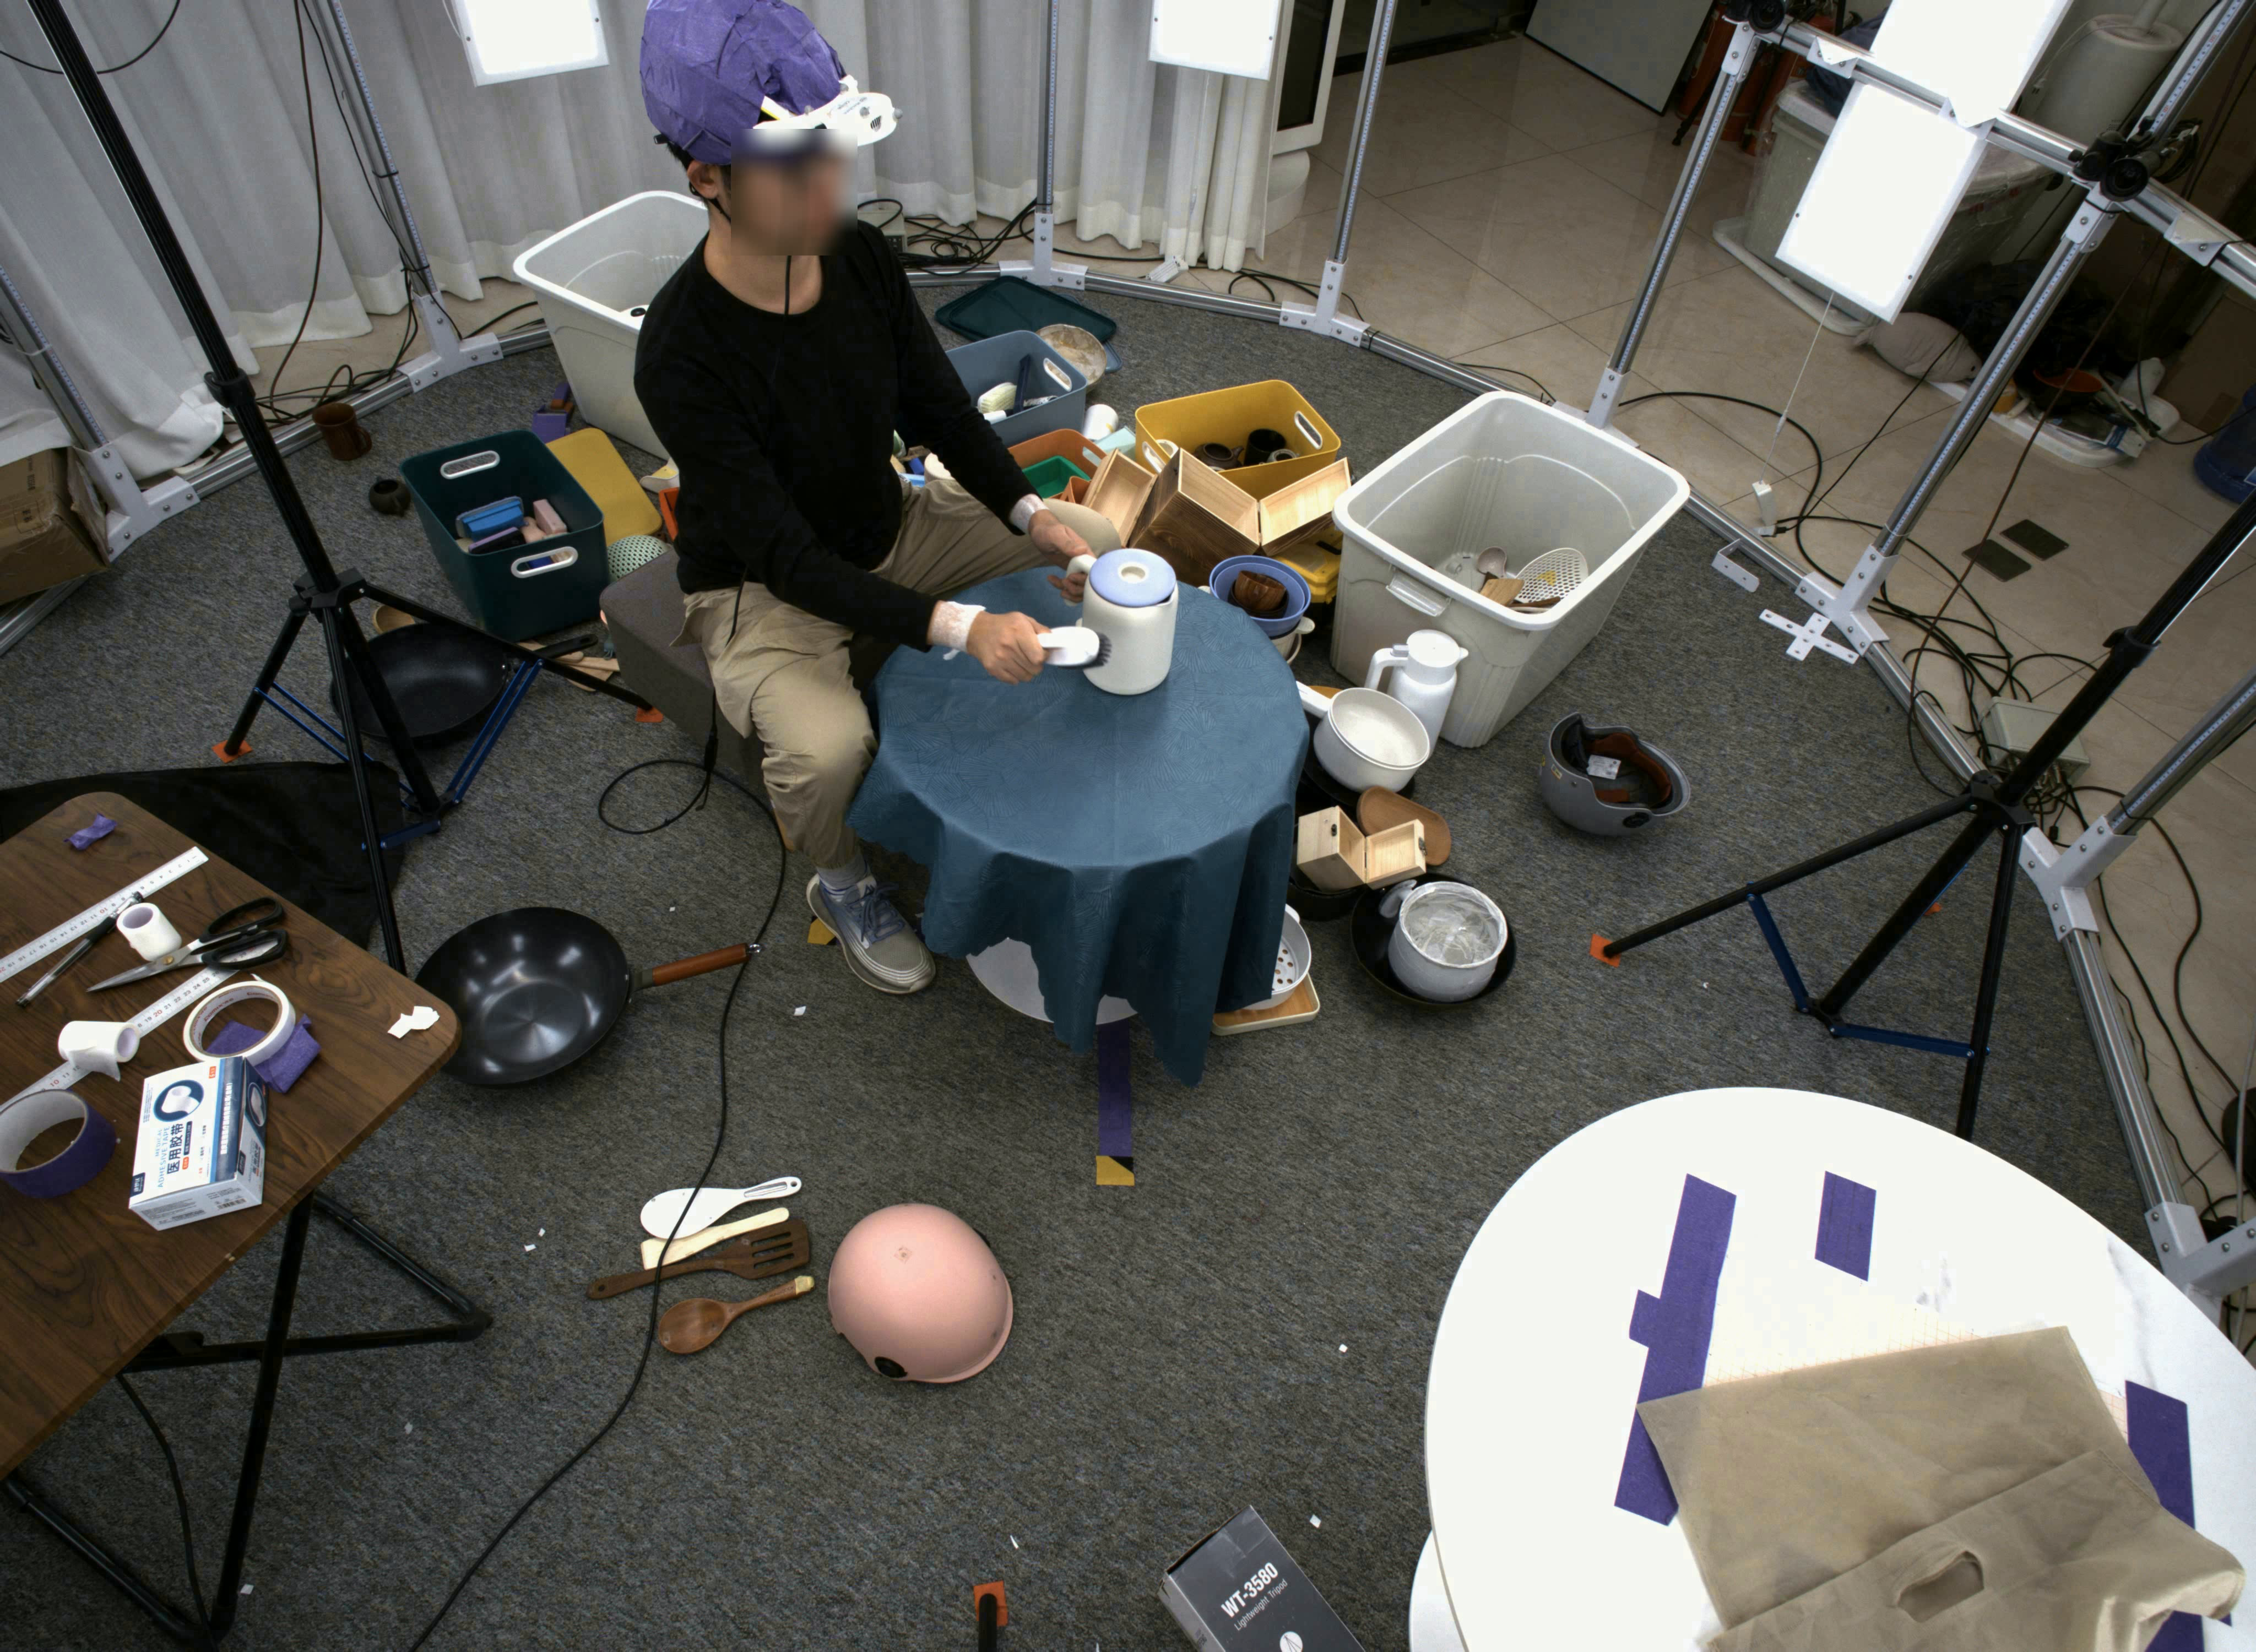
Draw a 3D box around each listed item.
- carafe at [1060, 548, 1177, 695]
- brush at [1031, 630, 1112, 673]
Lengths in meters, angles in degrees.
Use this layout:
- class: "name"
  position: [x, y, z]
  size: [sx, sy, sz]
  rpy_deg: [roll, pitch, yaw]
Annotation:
- class: "carafe"
  position: [-0.019, -0.299, 1.818]
  size: [0.193, 0.178, 0.134]
  rpy_deg: [32, 54, 23]
- class: "brush"
  position: [-0.080, -0.227, 1.645]
  size: [0.100, 0.050, 0.072]
  rpy_deg: [9, 1, 37]
